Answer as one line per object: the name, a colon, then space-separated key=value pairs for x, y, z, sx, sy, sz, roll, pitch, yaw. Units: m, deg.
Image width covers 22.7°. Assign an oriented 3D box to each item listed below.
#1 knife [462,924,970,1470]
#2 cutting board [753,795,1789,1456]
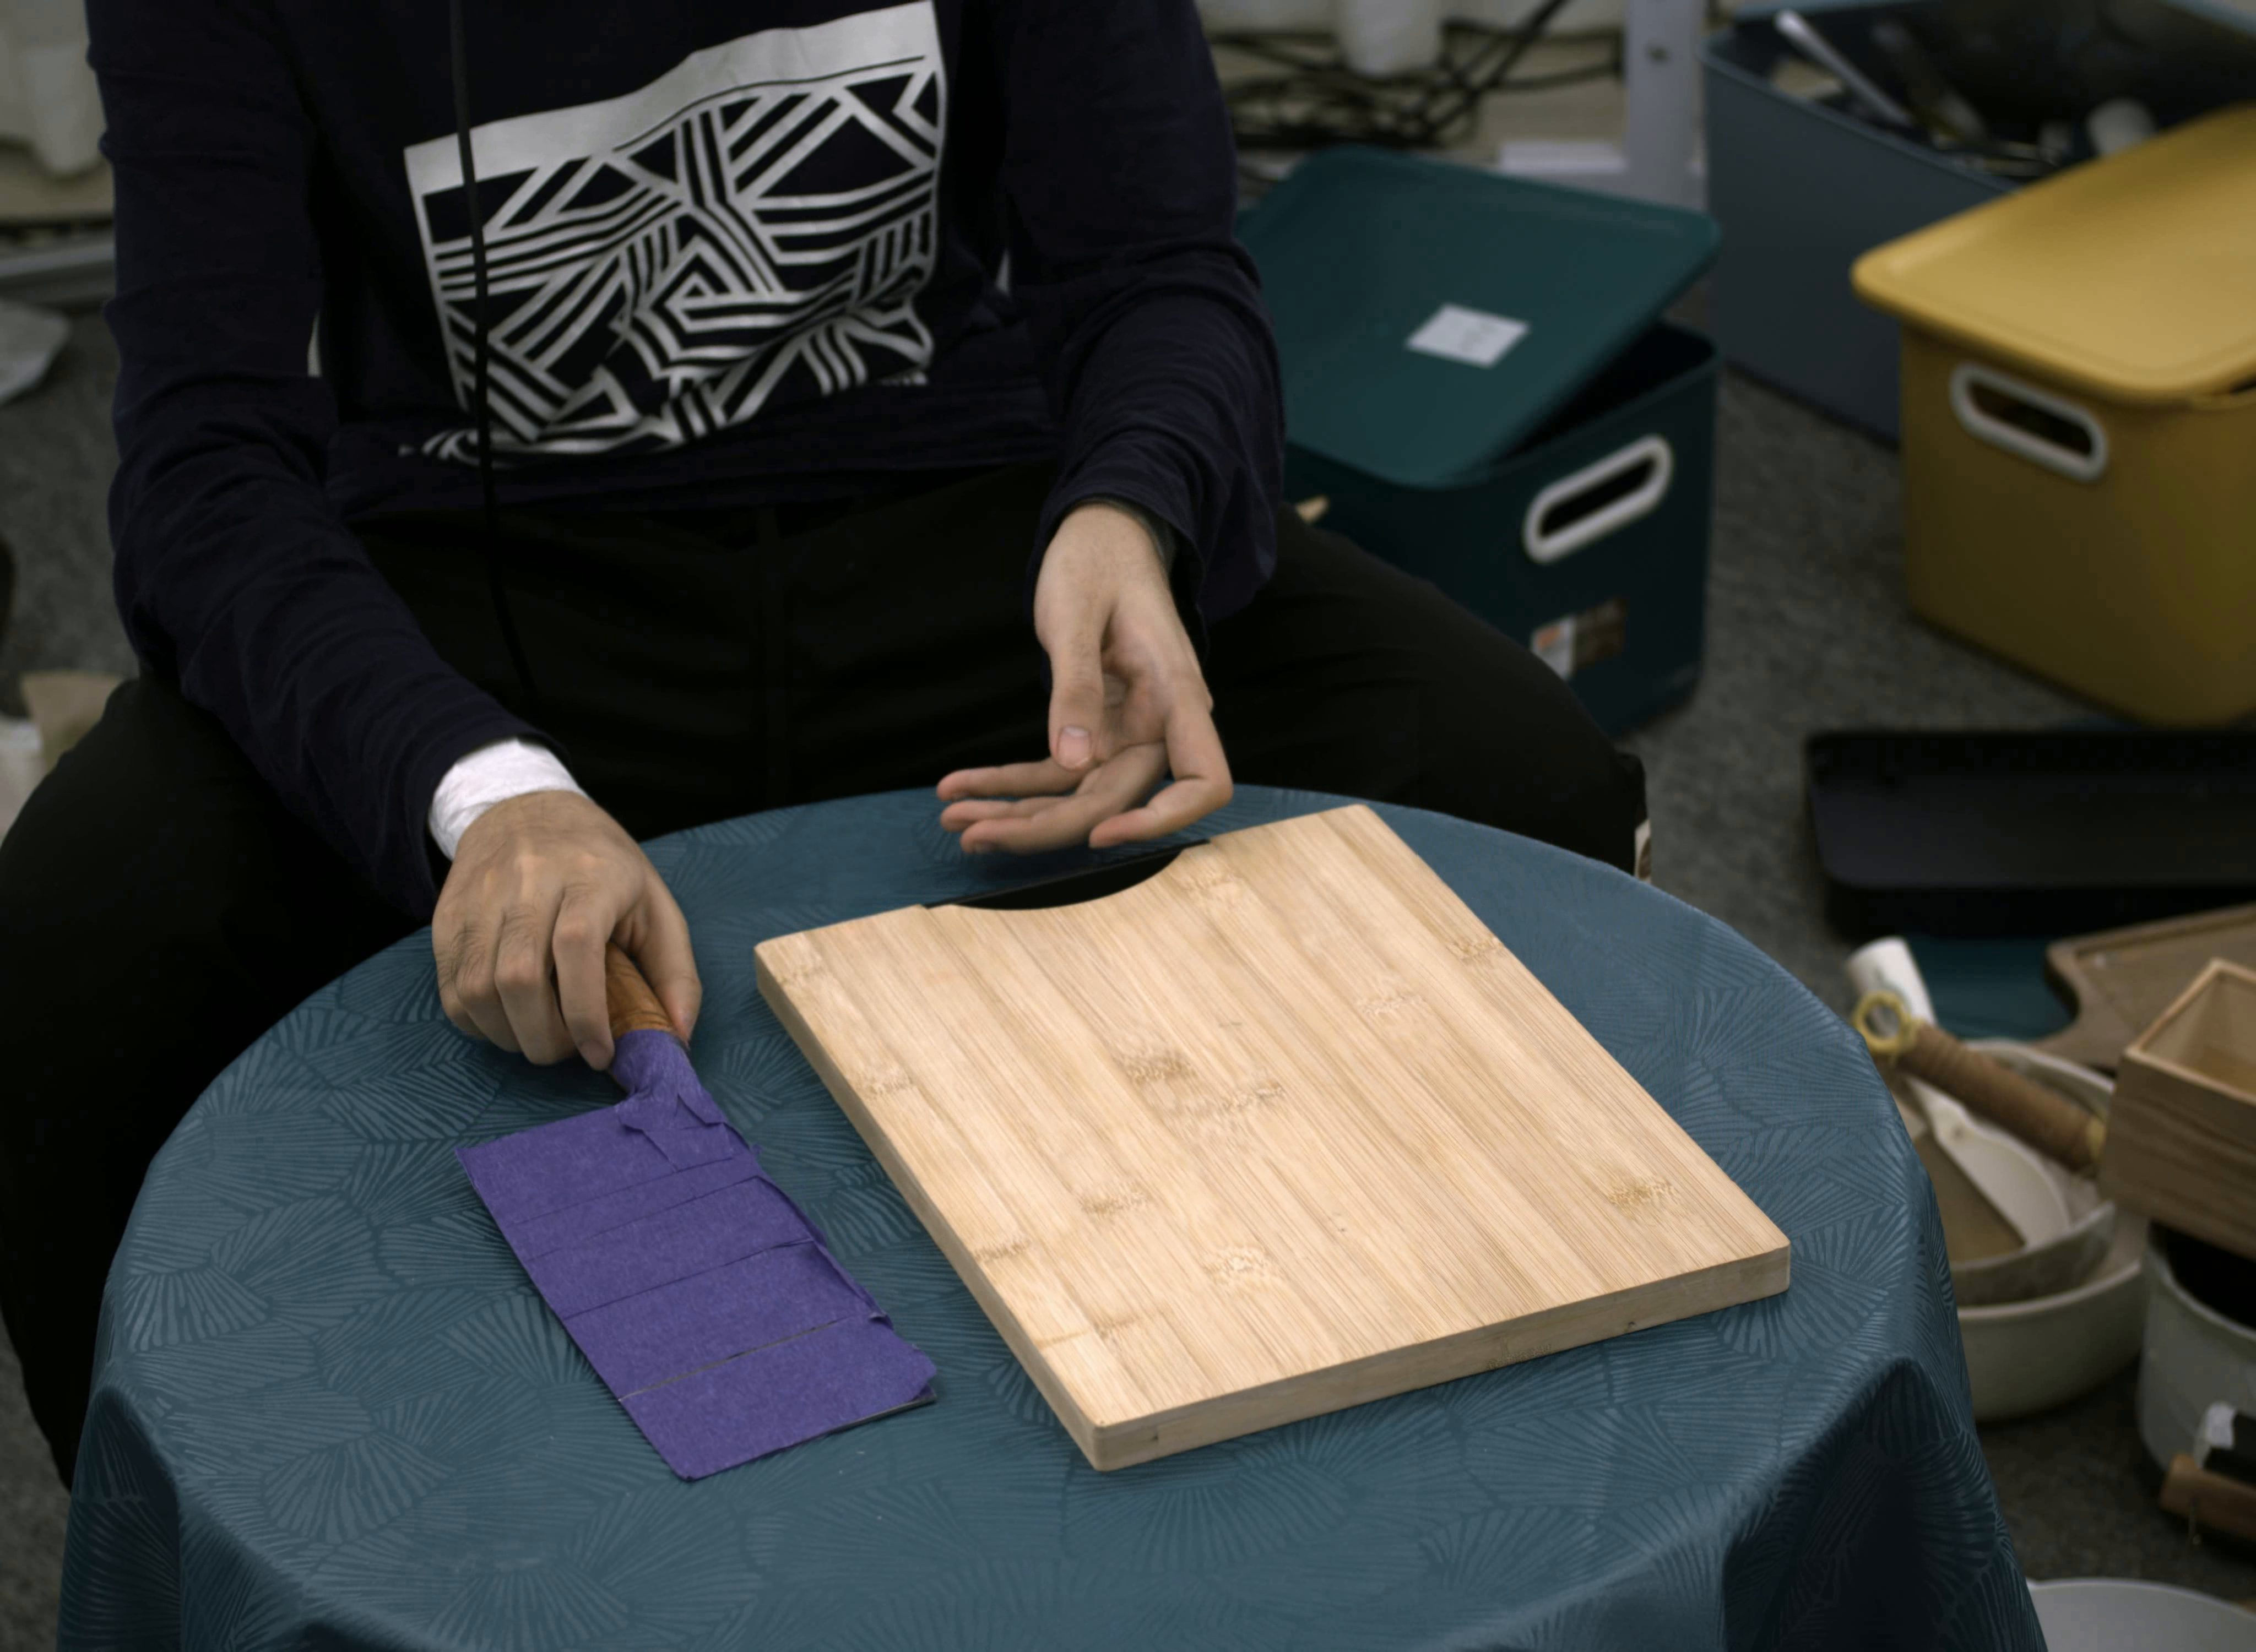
knife: x=-0.163 y=0.118 z=1.855 sx=0.104 sy=0.032 sz=0.317 roll=-15 pitch=30 yaw=-22
cutting board: x=0.038 y=0.093 z=1.895 sx=0.251 sy=0.023 sz=0.351 roll=-12 pitch=29 yaw=-18
